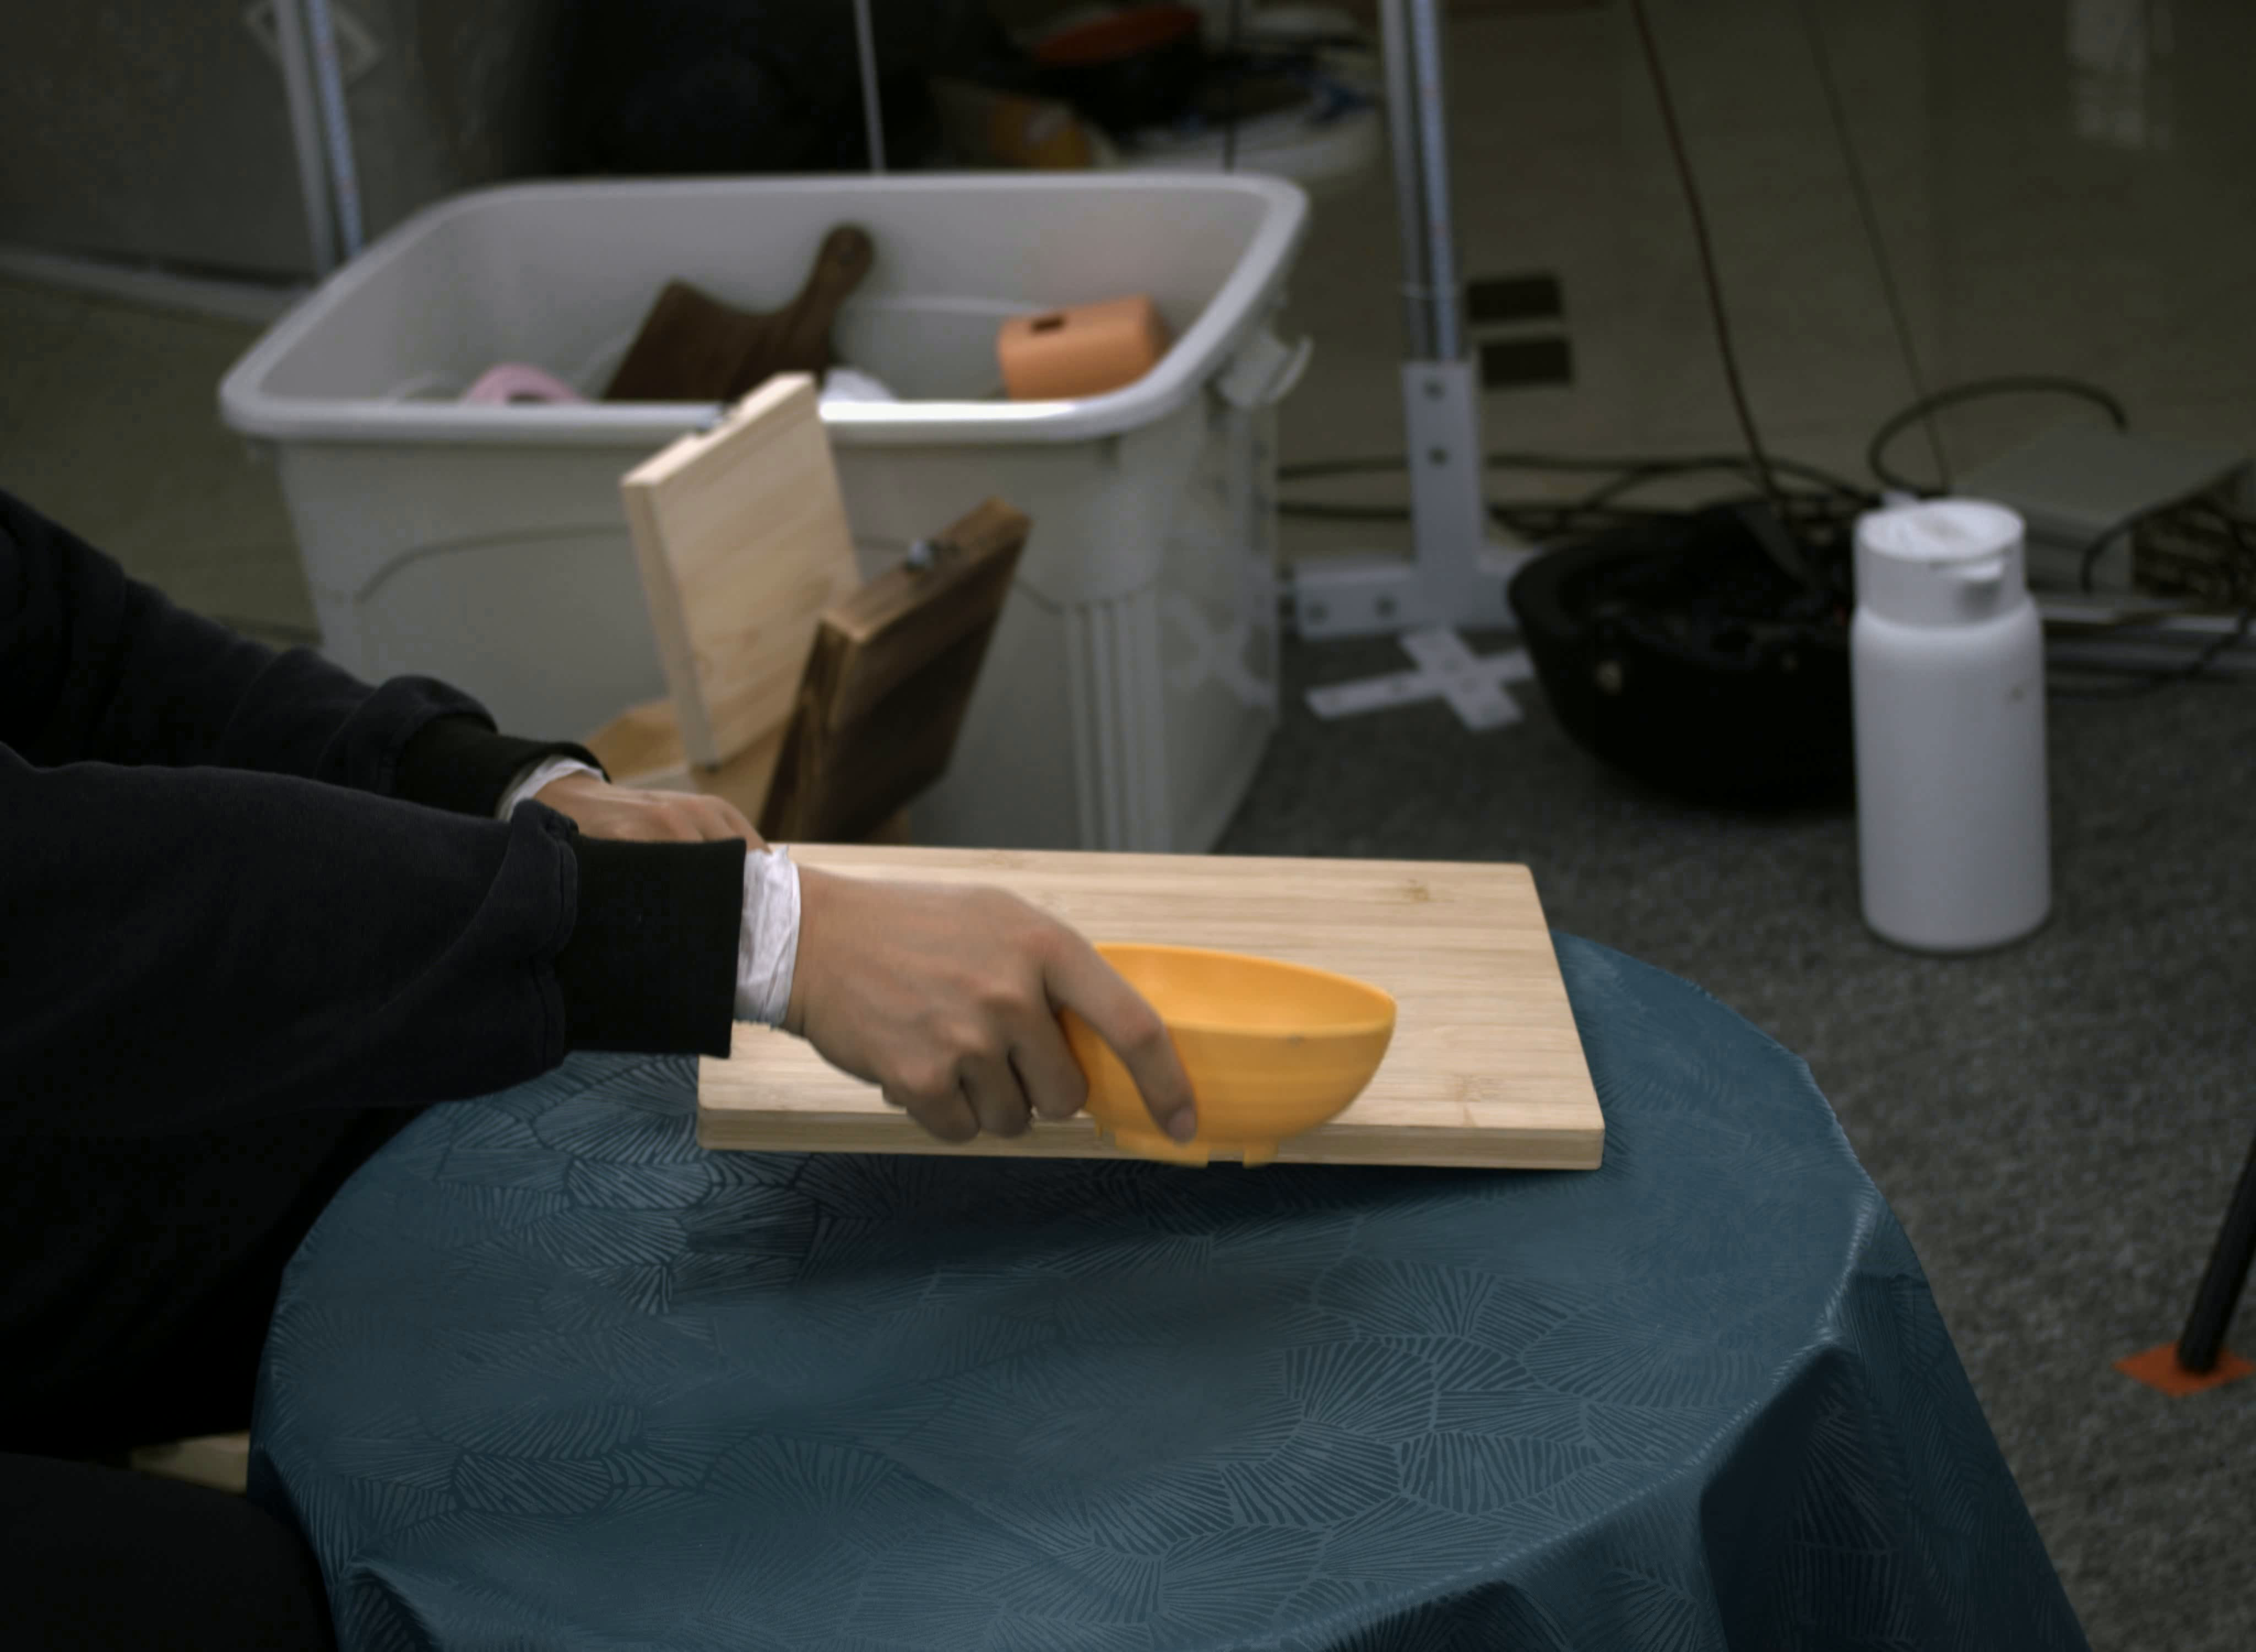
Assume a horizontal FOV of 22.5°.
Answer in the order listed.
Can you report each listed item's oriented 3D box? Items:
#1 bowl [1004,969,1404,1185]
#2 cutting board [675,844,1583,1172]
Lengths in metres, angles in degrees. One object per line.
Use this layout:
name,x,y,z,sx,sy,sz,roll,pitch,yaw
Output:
bowl,0.024,0.092,2.023,0.145,0.060,0.144,6,9,-1
cutting board,-0.003,0.069,2.220,0.348,0.024,0.247,1,24,-5
